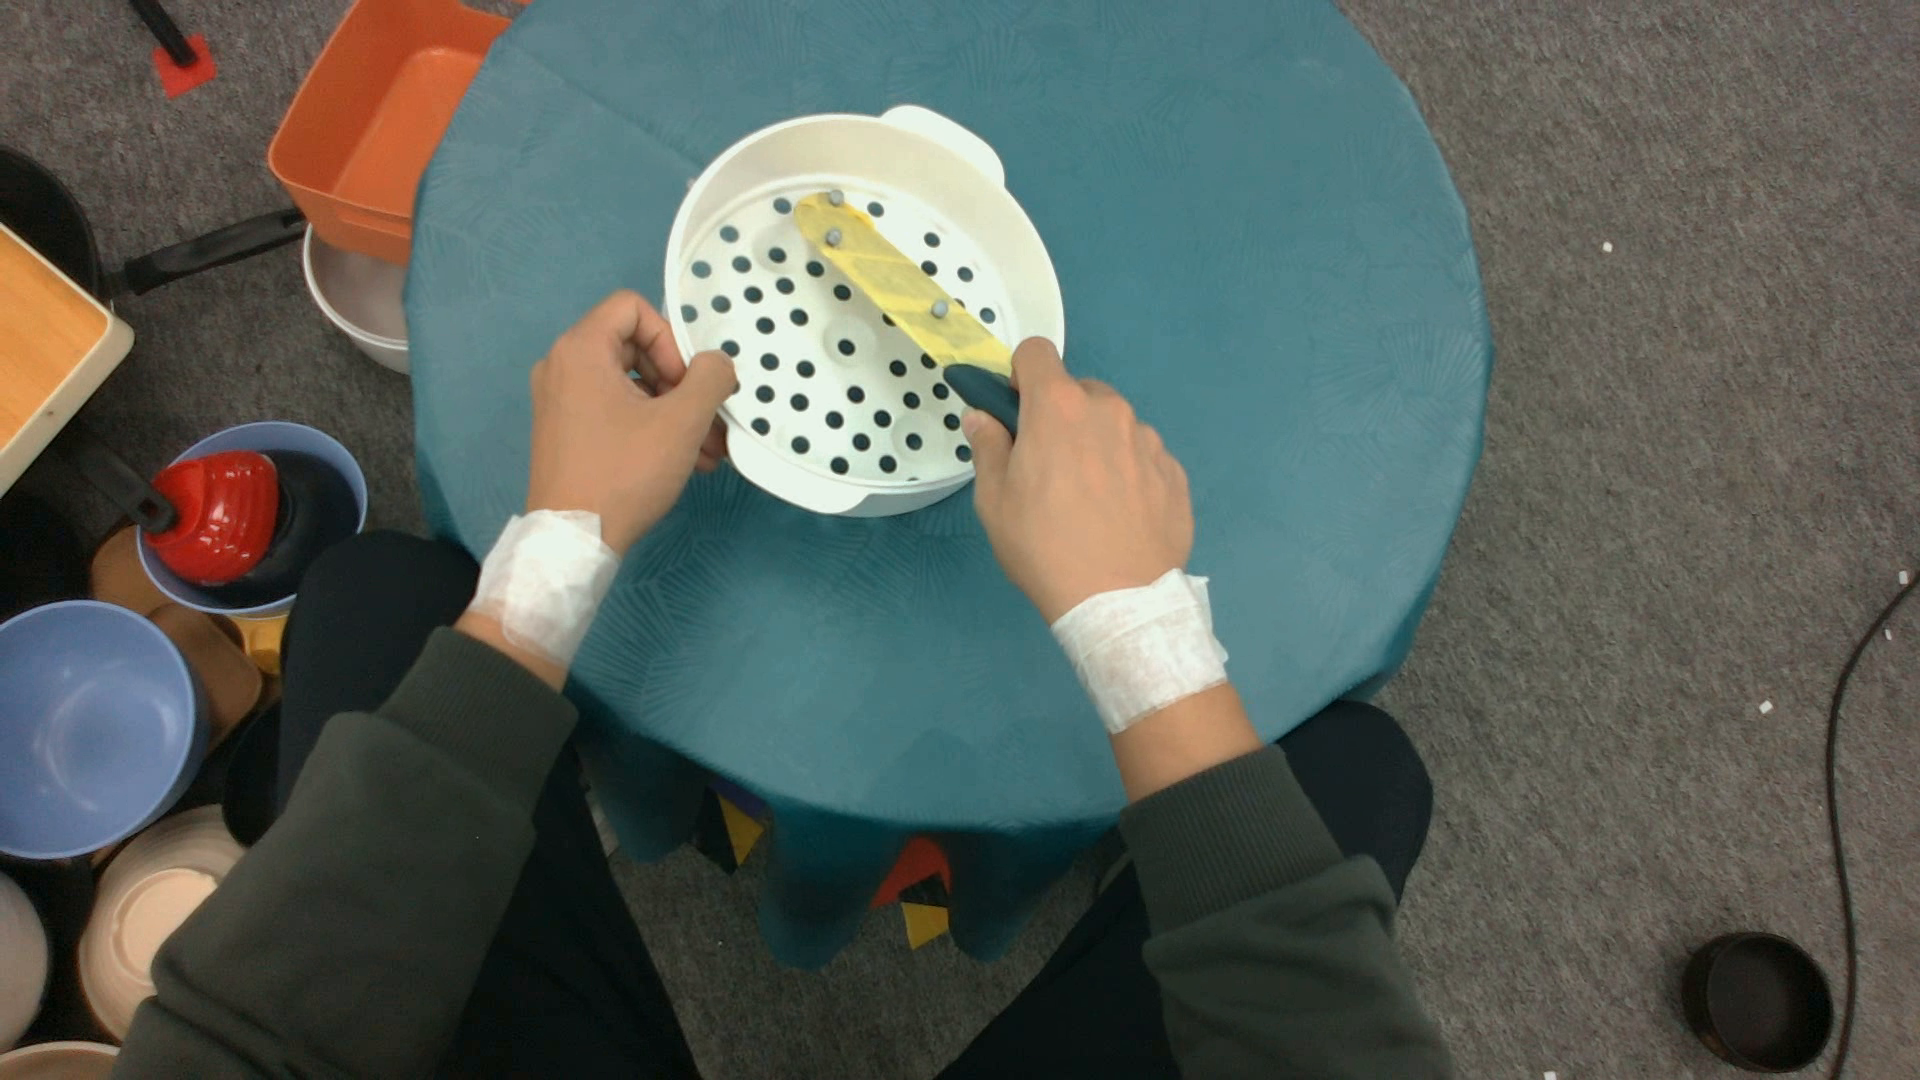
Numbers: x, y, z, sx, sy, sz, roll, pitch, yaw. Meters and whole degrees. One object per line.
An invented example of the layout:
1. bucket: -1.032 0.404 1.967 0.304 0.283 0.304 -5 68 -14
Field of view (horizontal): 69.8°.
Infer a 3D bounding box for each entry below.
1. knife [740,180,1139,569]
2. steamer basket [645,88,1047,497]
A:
1. knife: -0.013 -0.091 0.665 0.290 0.027 0.081 46 34 22
2. steamer basket: -0.060 -0.121 0.703 0.202 0.069 0.231 26 68 -10
